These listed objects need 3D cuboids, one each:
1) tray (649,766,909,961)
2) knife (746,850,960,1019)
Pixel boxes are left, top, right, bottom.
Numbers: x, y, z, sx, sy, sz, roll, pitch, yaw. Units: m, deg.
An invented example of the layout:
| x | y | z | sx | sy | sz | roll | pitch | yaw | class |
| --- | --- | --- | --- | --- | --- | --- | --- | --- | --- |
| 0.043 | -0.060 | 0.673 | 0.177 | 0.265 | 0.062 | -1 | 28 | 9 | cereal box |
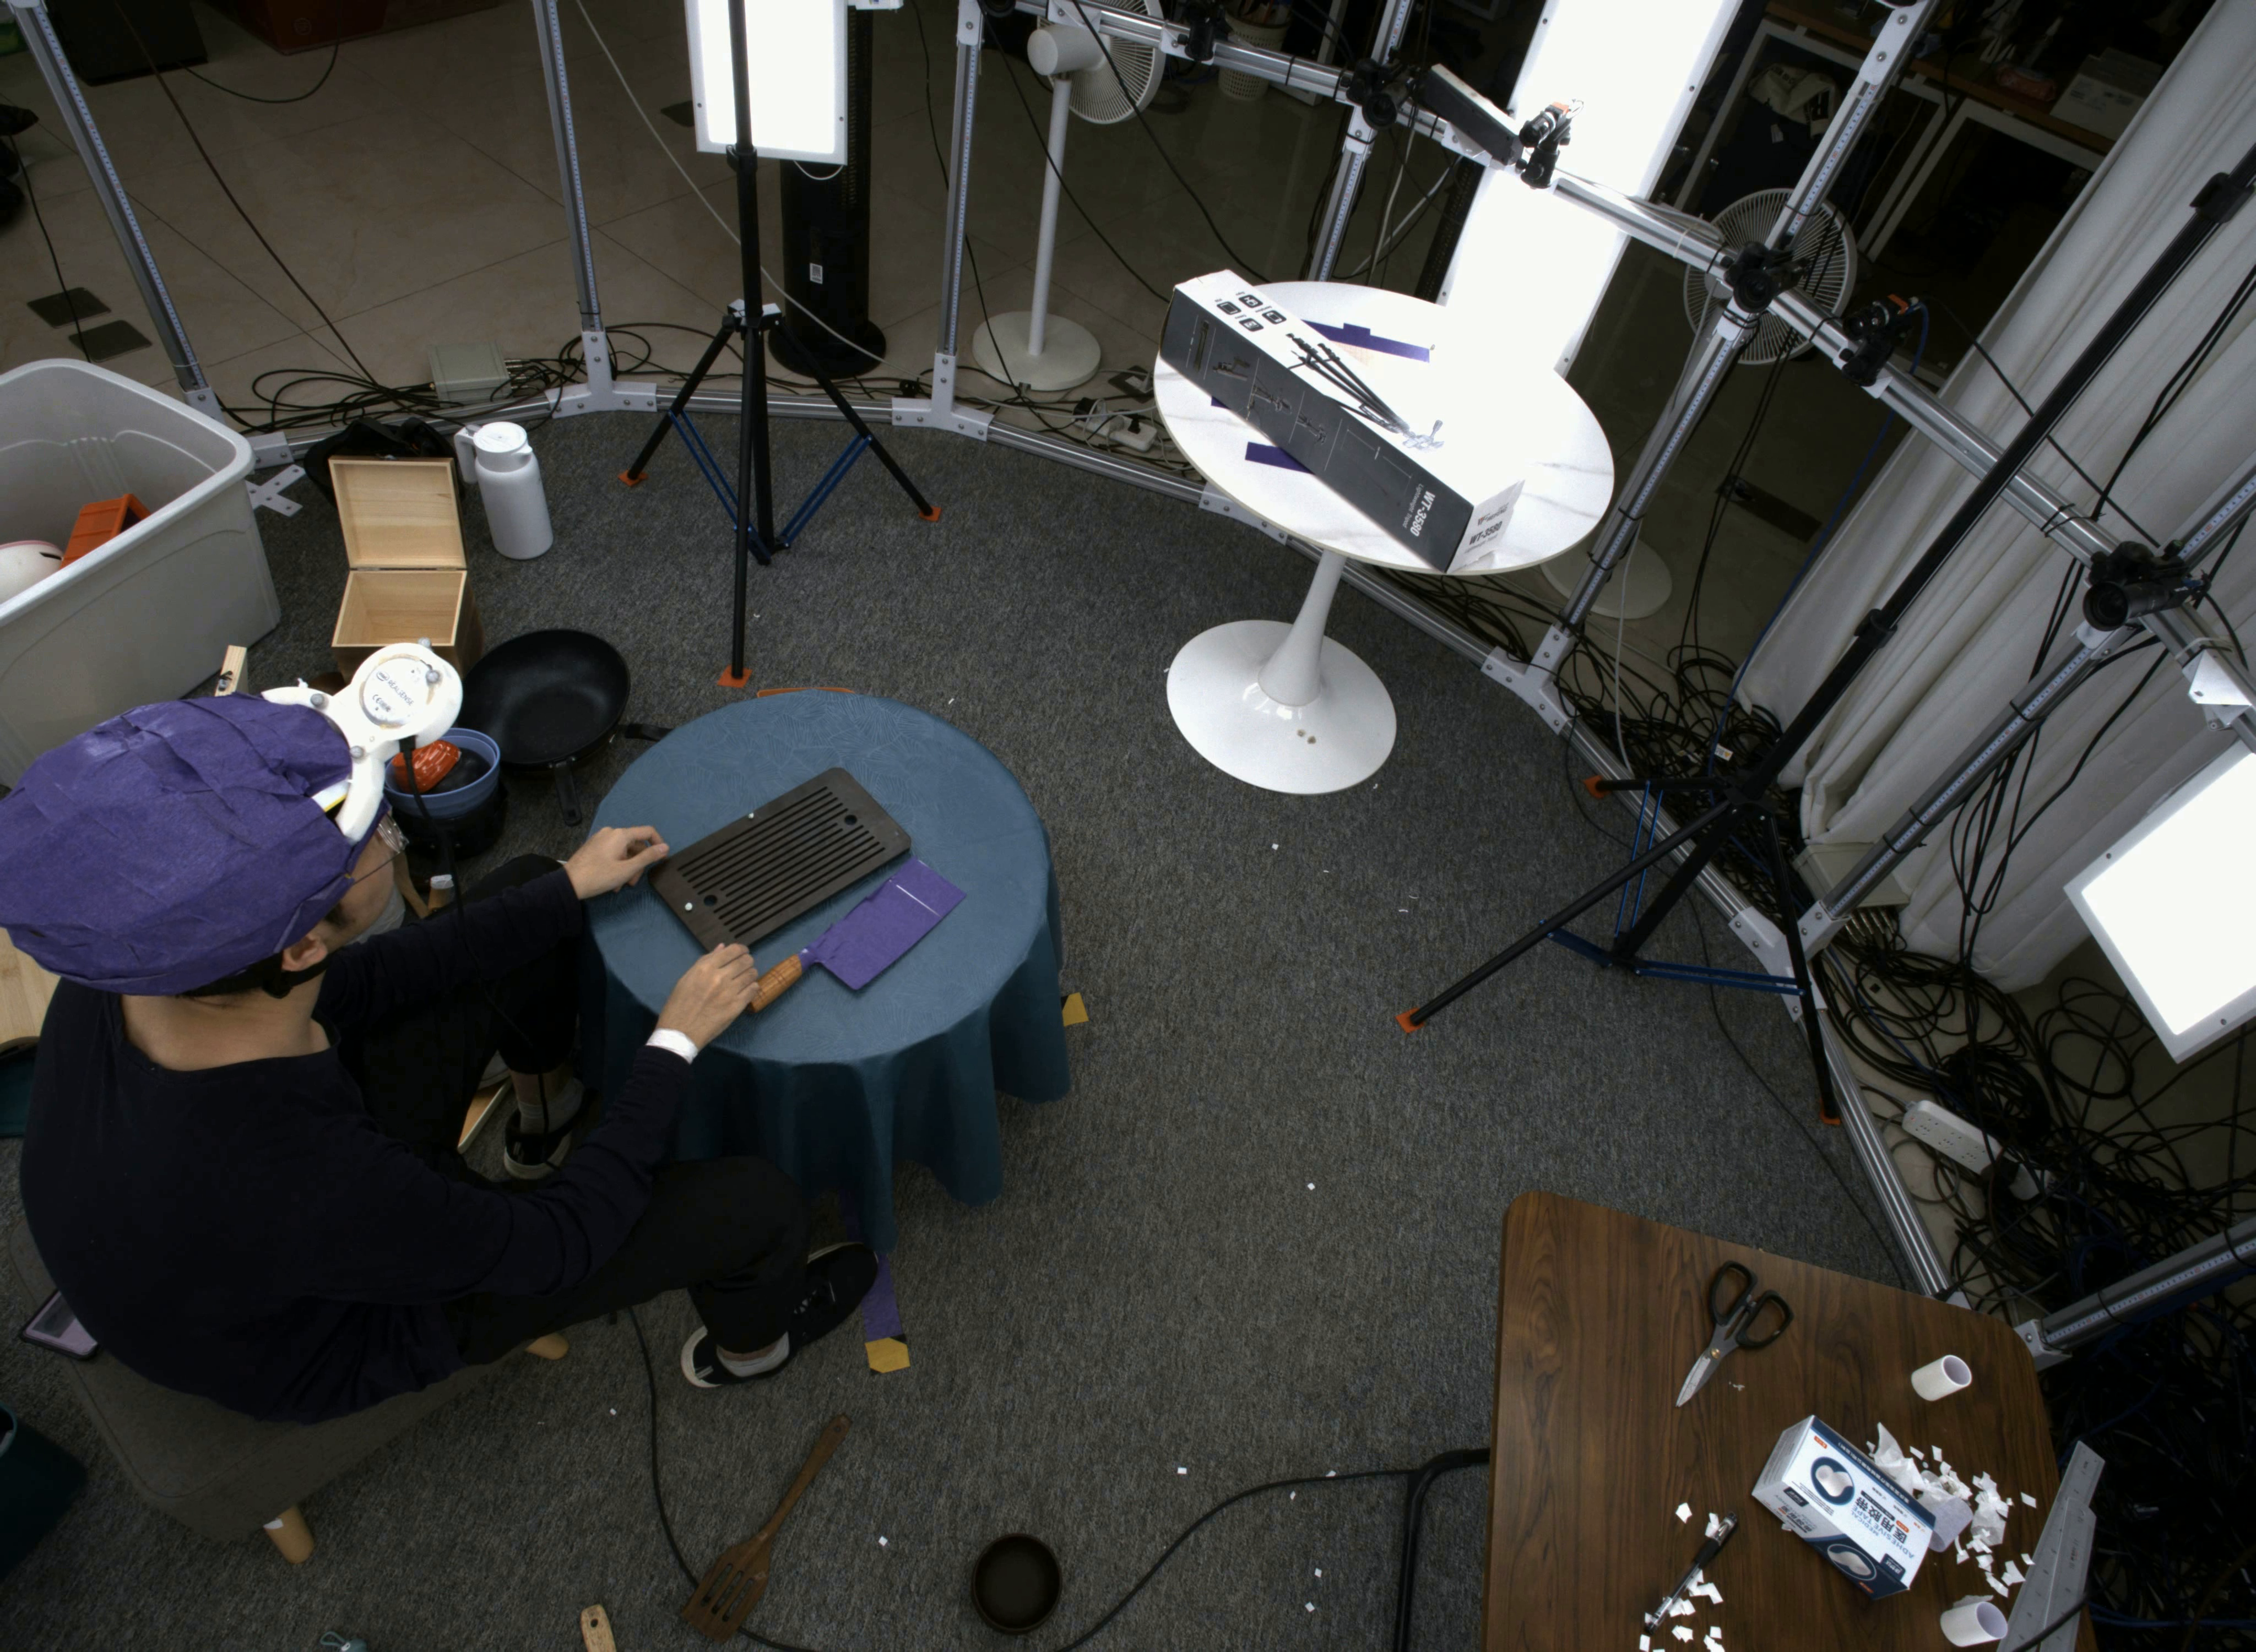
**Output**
| x | y | z | sx | sy | sz | roll | pitch | yaw | class |
| --- | --- | --- | --- | --- | --- | --- | --- | --- | --- |
| -0.450 | 0.042 | 1.685 | 0.307 | 0.019 | 0.166 | -34 | 68 | -32 | tray |
| -0.336 | 0.144 | 1.633 | 0.102 | 0.033 | 0.315 | 35 | 53 | 13 | knife |
